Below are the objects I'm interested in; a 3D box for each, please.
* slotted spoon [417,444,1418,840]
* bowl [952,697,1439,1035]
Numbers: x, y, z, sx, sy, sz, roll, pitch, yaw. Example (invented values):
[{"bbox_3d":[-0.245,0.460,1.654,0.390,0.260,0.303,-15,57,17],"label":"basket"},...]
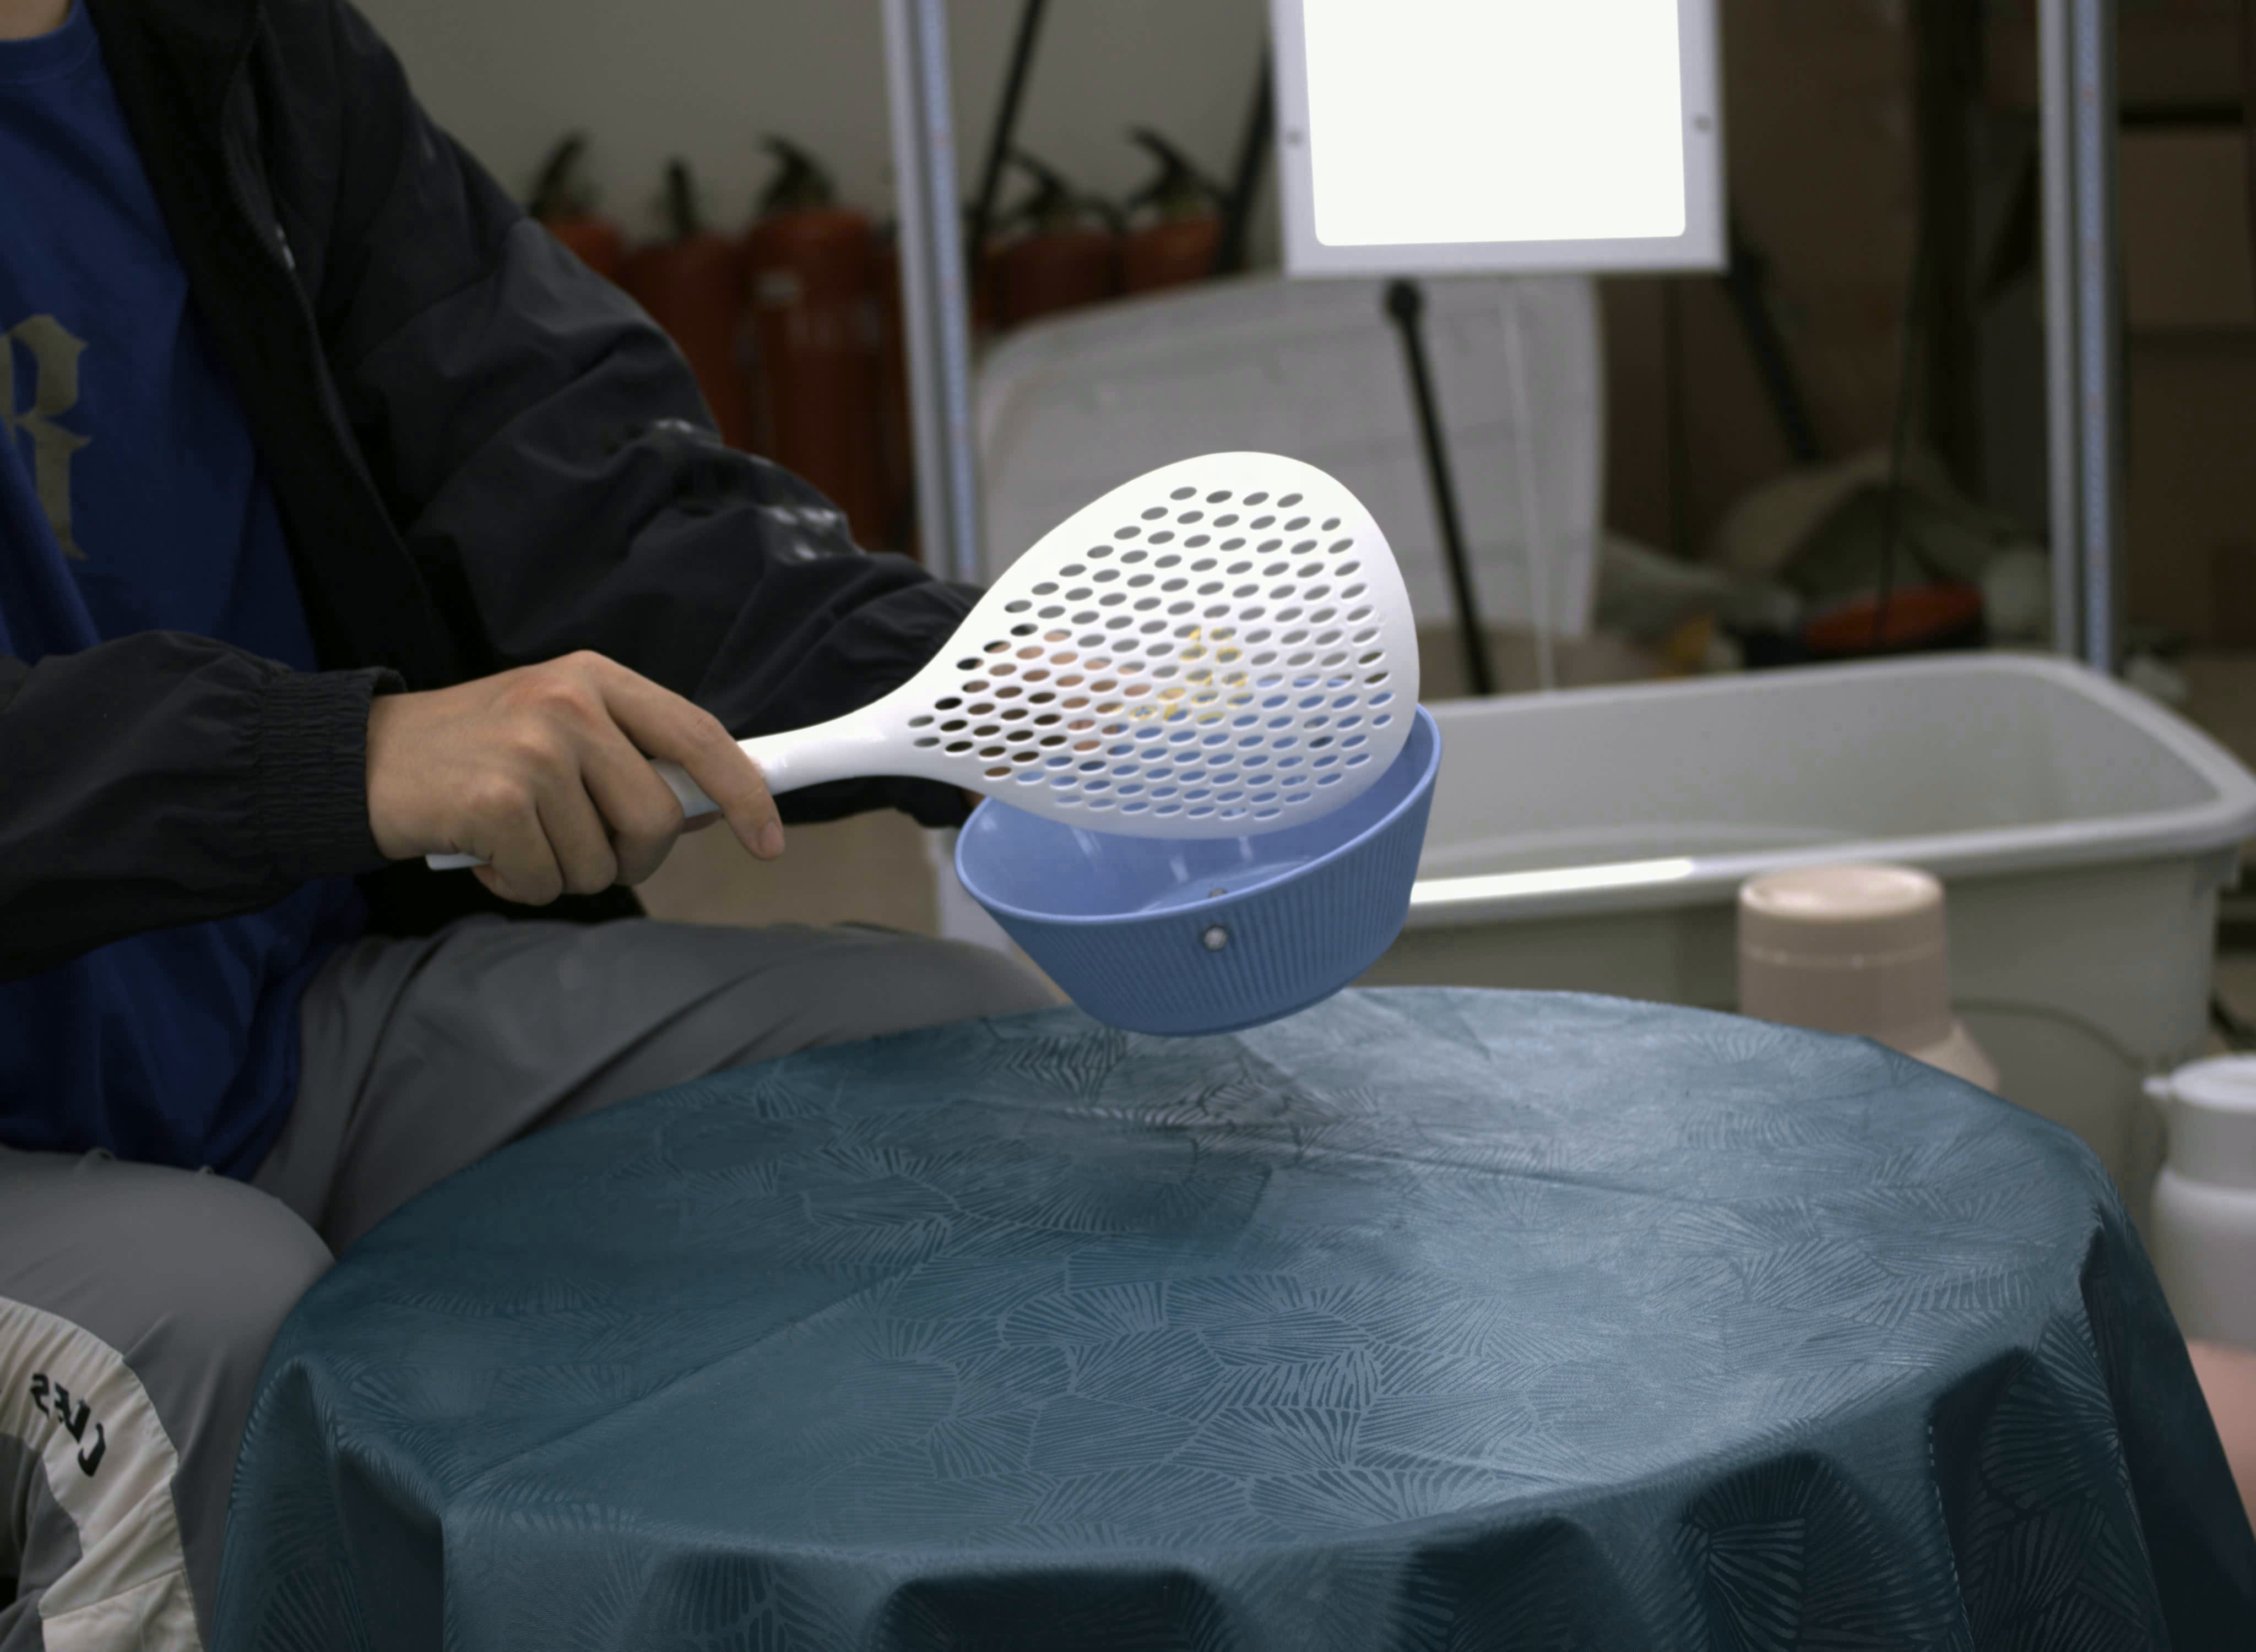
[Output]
[{"bbox_3d":[-0.071,-0.035,1.891,0.348,0.137,0.050,-12,13,6],"label":"slotted spoon"},{"bbox_3d":[0.031,0.017,1.926,0.176,0.070,0.175,-14,24,5],"label":"bowl"}]
